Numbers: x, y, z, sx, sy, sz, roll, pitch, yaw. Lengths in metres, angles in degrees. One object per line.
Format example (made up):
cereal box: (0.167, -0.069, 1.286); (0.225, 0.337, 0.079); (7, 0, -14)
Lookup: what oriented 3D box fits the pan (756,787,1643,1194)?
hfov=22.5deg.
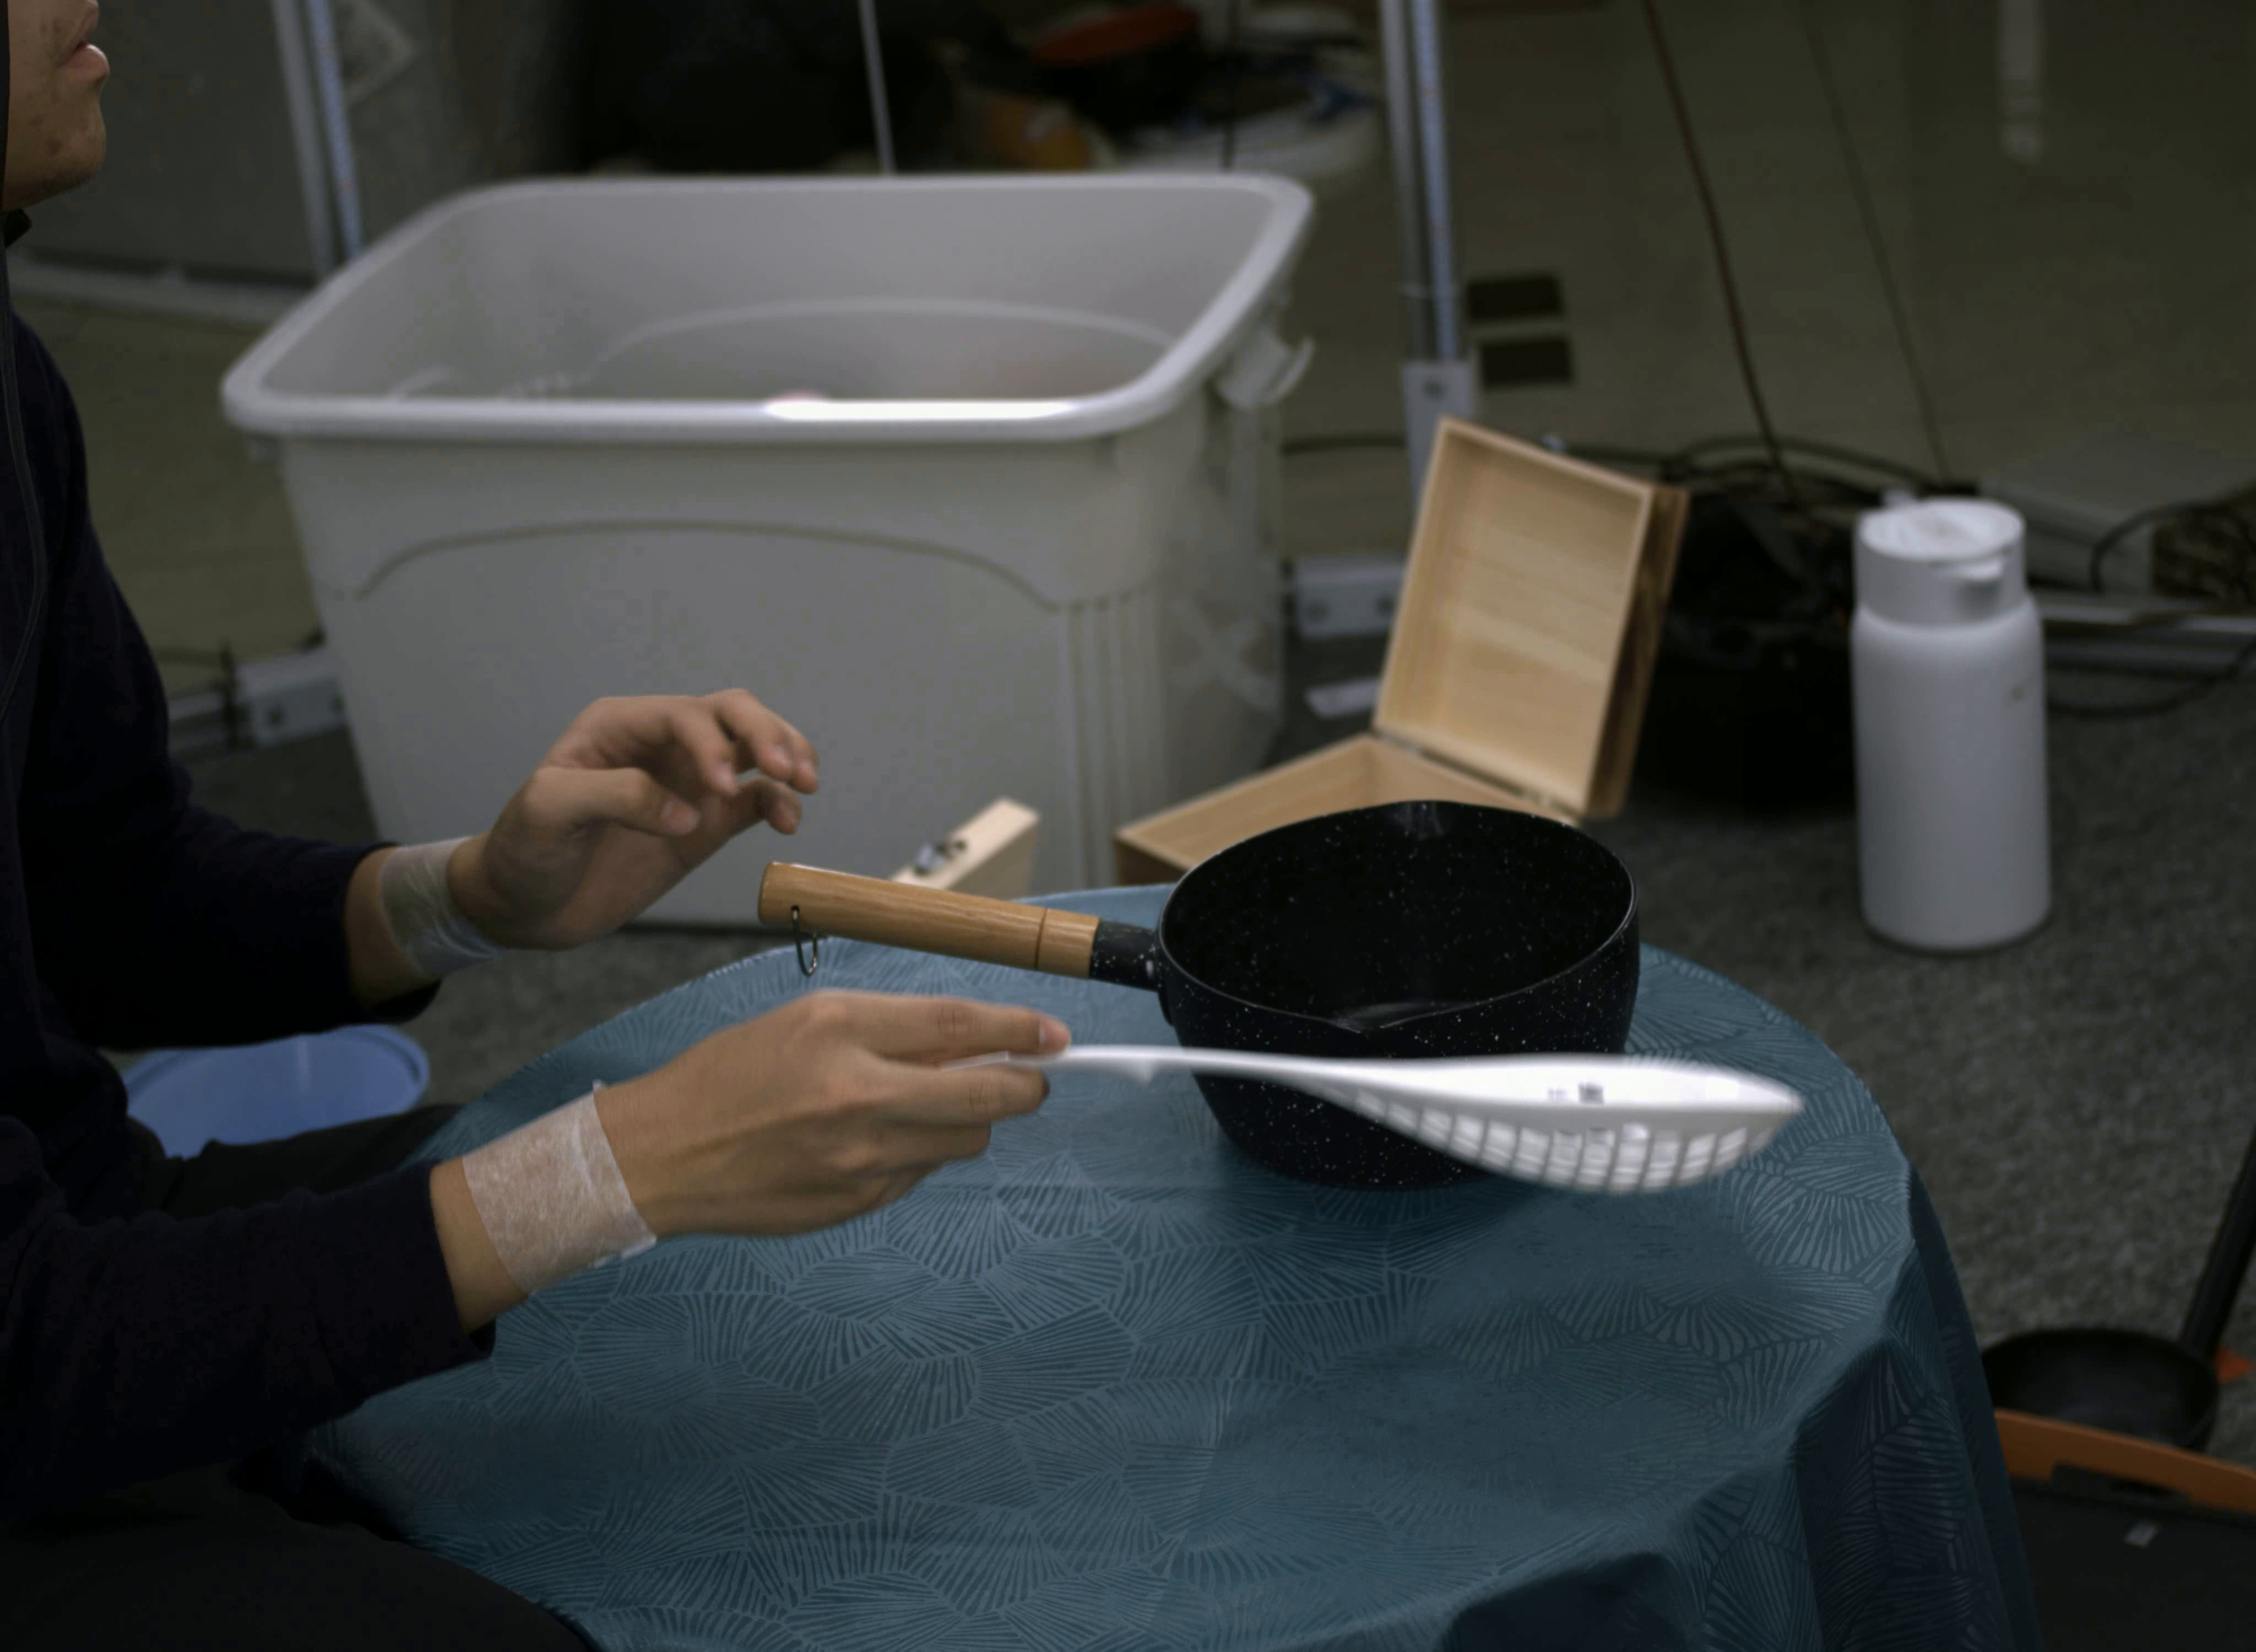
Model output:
pan: (0.027, 0.060, 2.180); (0.342, 0.110, 0.204); (-1, 27, 9)

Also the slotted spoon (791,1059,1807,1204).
slotted spoon: (0.059, 0.096, 1.955); (0.347, 0.050, 0.136); (7, 3, -5)
